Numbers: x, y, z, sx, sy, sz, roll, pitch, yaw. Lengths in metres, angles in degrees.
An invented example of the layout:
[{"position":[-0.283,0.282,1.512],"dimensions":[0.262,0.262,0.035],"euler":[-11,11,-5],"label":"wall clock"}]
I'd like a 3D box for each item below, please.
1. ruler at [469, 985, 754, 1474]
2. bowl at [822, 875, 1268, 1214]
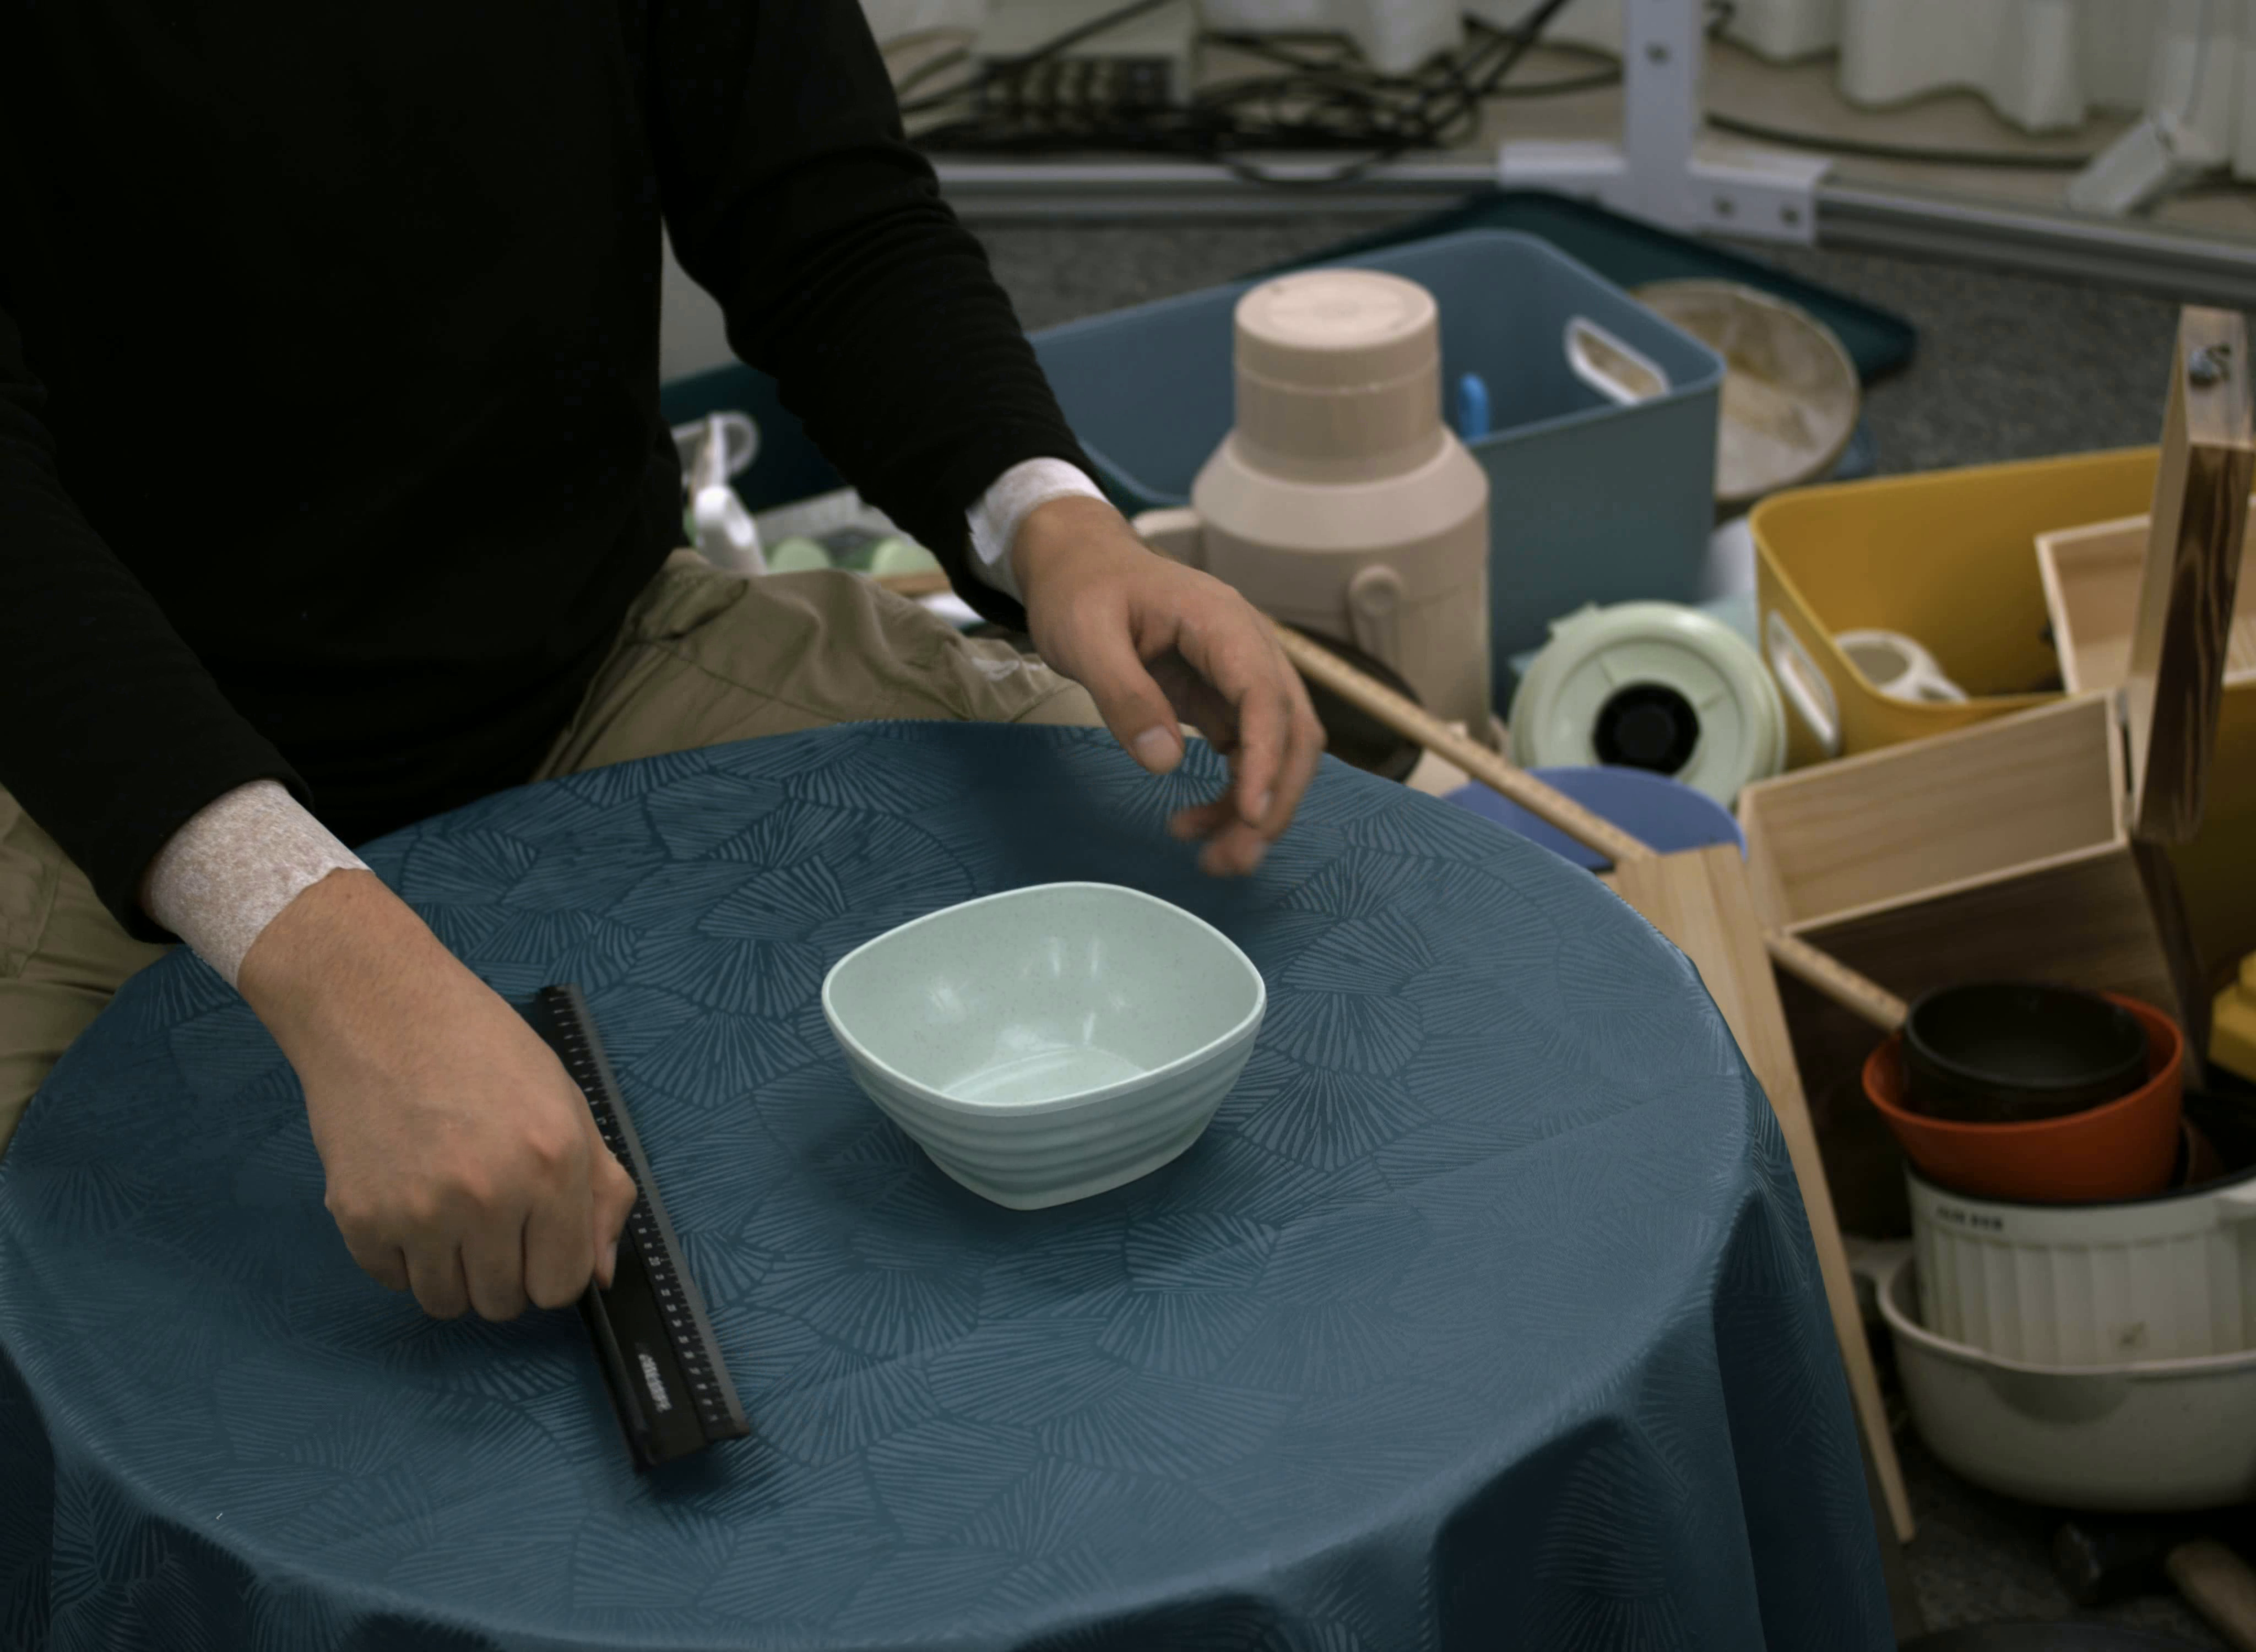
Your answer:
[{"position":[-0.173,0.122,1.839],"dimensions":[0.039,0.017,0.315],"euler":[-16,28,-10],"label":"ruler"},{"position":[-0.027,0.079,1.885],"dimensions":[0.151,0.058,0.154],"euler":[-2,29,1],"label":"bowl"}]
